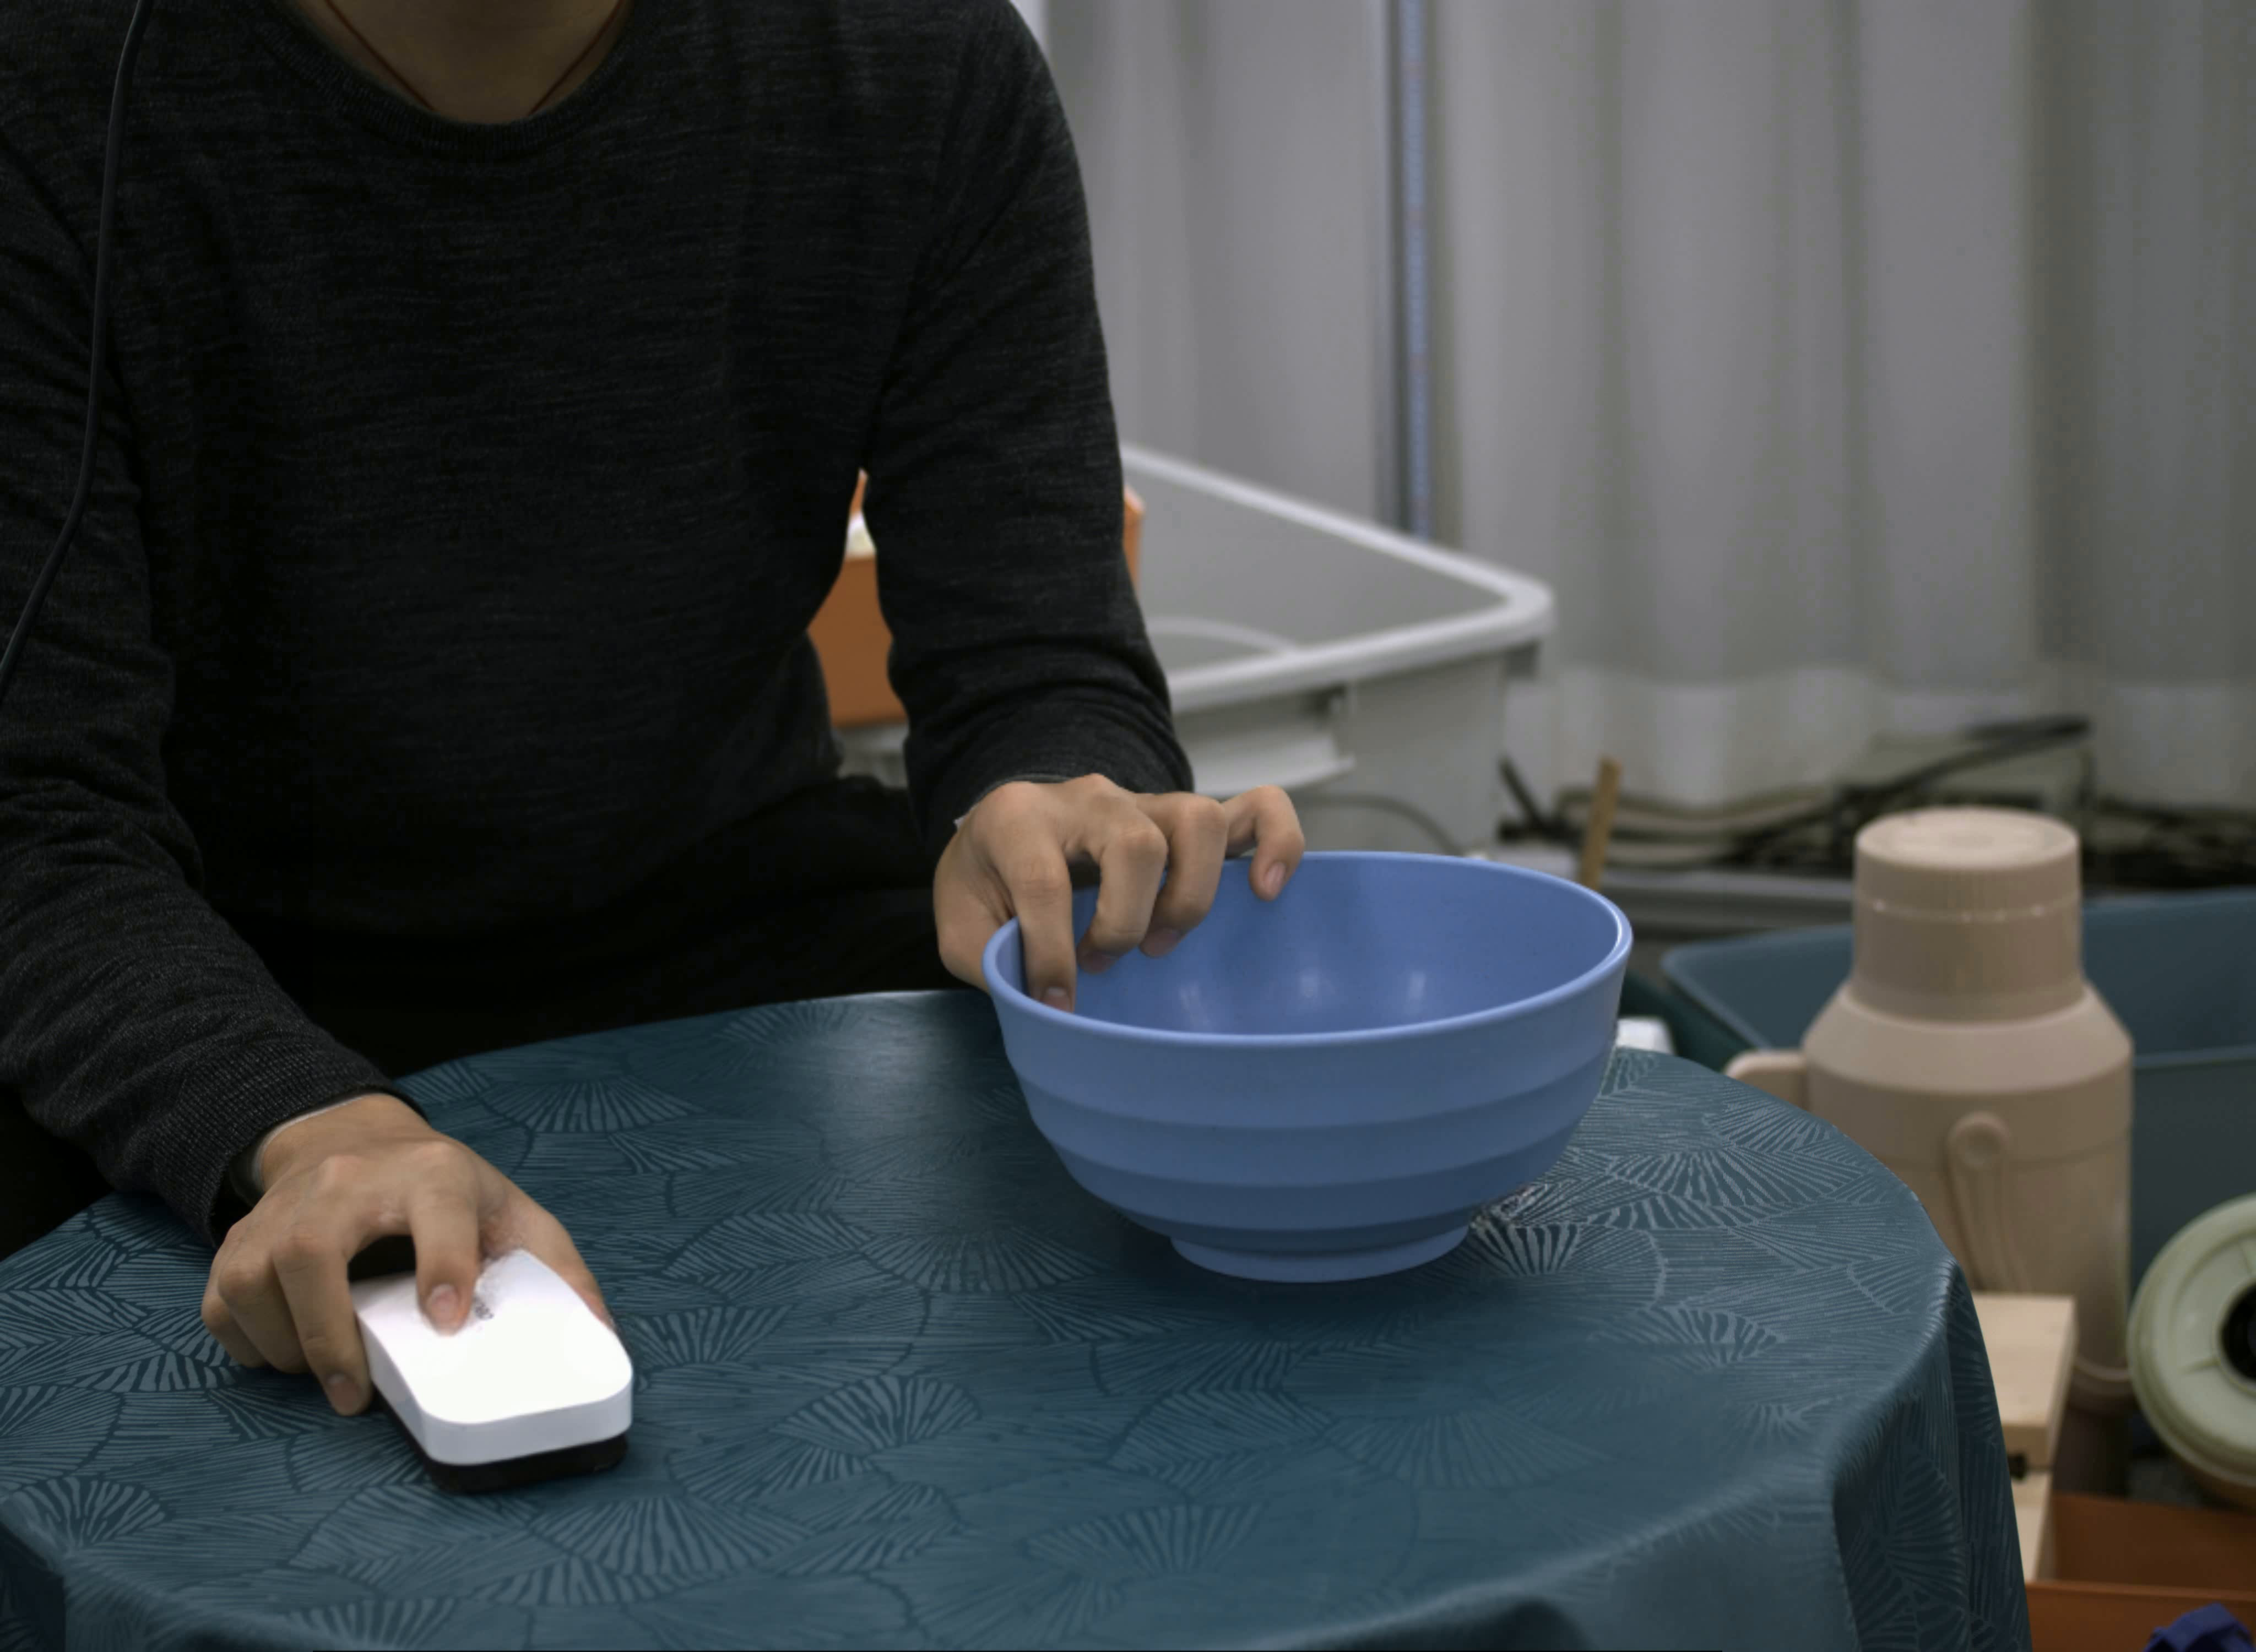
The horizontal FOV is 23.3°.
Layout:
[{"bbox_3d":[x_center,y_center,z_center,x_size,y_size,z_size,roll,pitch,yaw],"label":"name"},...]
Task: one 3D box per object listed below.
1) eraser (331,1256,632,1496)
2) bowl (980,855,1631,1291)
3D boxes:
[{"bbox_3d":[-0.183,0.151,1.551,0.063,0.034,0.132,-8,16,-19],"label":"eraser"},{"bbox_3d":[0.056,0.081,1.654,0.196,0.095,0.198,-4,15,1],"label":"bowl"}]
